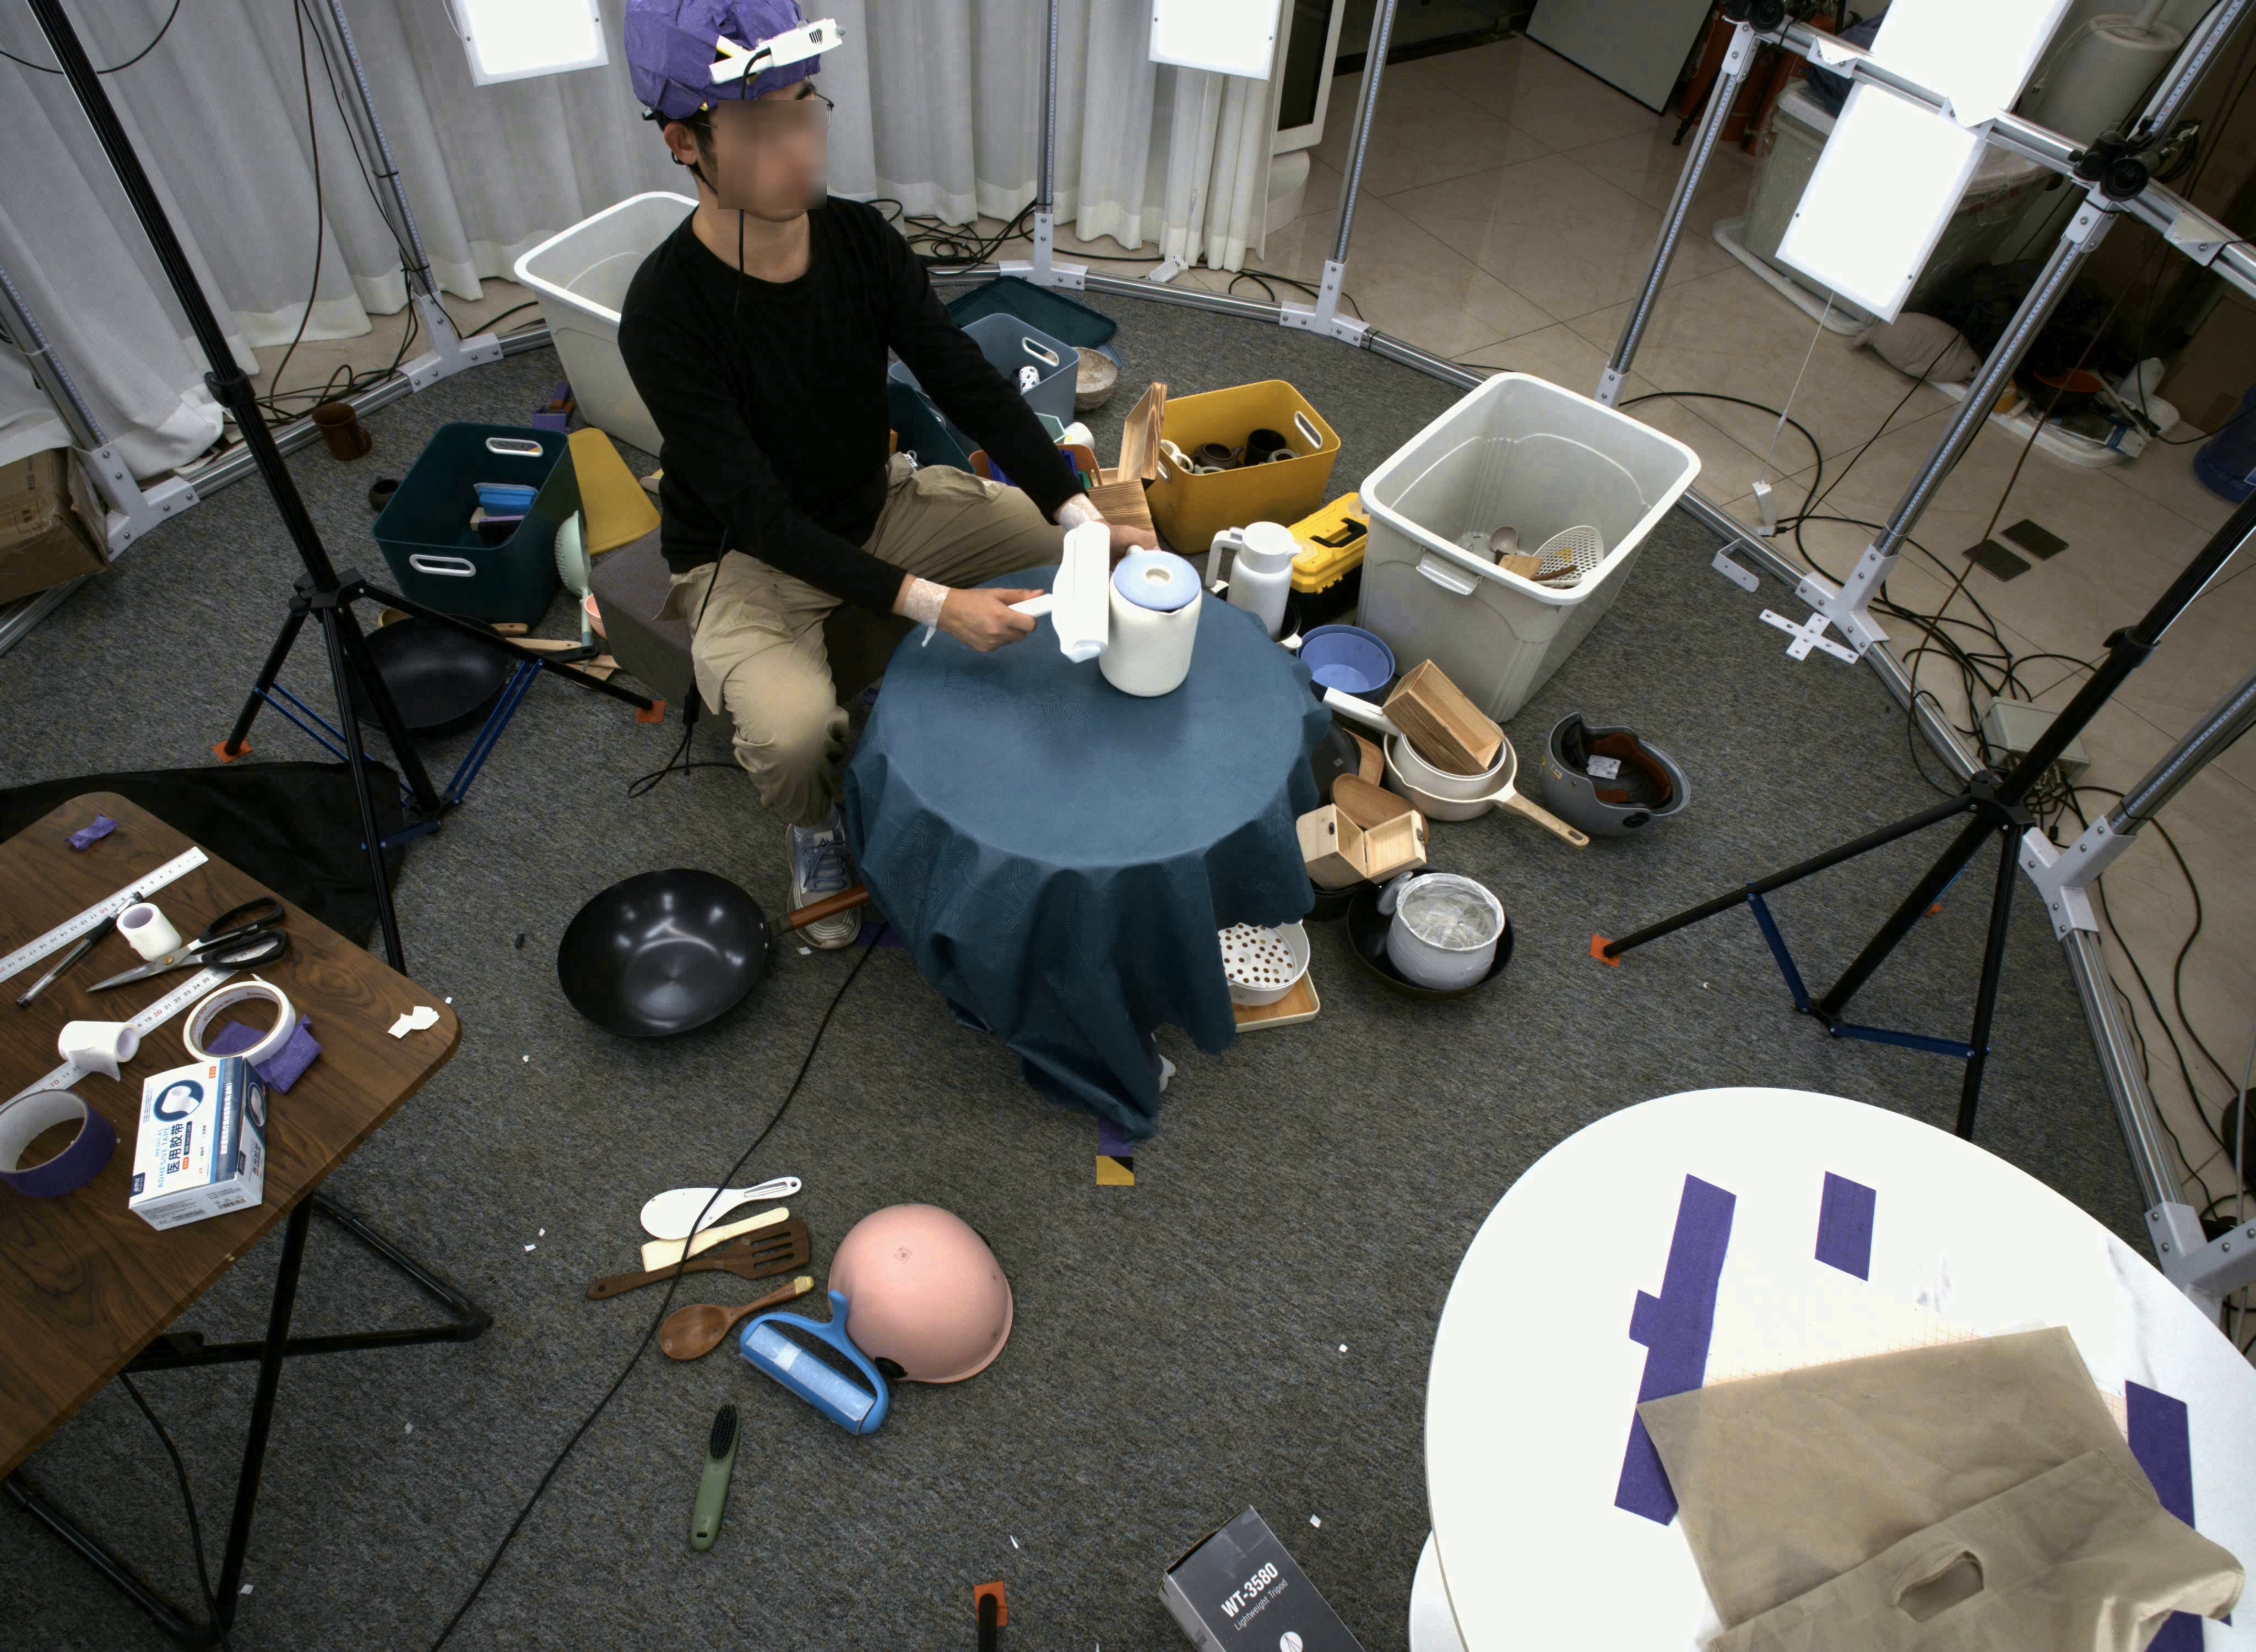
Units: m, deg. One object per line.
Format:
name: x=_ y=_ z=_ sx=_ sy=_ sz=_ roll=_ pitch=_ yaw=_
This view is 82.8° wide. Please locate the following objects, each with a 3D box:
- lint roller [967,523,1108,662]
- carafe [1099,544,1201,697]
lint roller: x=-0.130 y=-0.305 z=1.779 sx=0.225 sy=0.047 sz=0.207 roll=-12 pitch=61 yaw=22
carafe: x=0.023 y=-0.302 z=1.819 sx=0.132 sy=0.178 sz=0.196 roll=-10 pitch=50 yaw=-16
